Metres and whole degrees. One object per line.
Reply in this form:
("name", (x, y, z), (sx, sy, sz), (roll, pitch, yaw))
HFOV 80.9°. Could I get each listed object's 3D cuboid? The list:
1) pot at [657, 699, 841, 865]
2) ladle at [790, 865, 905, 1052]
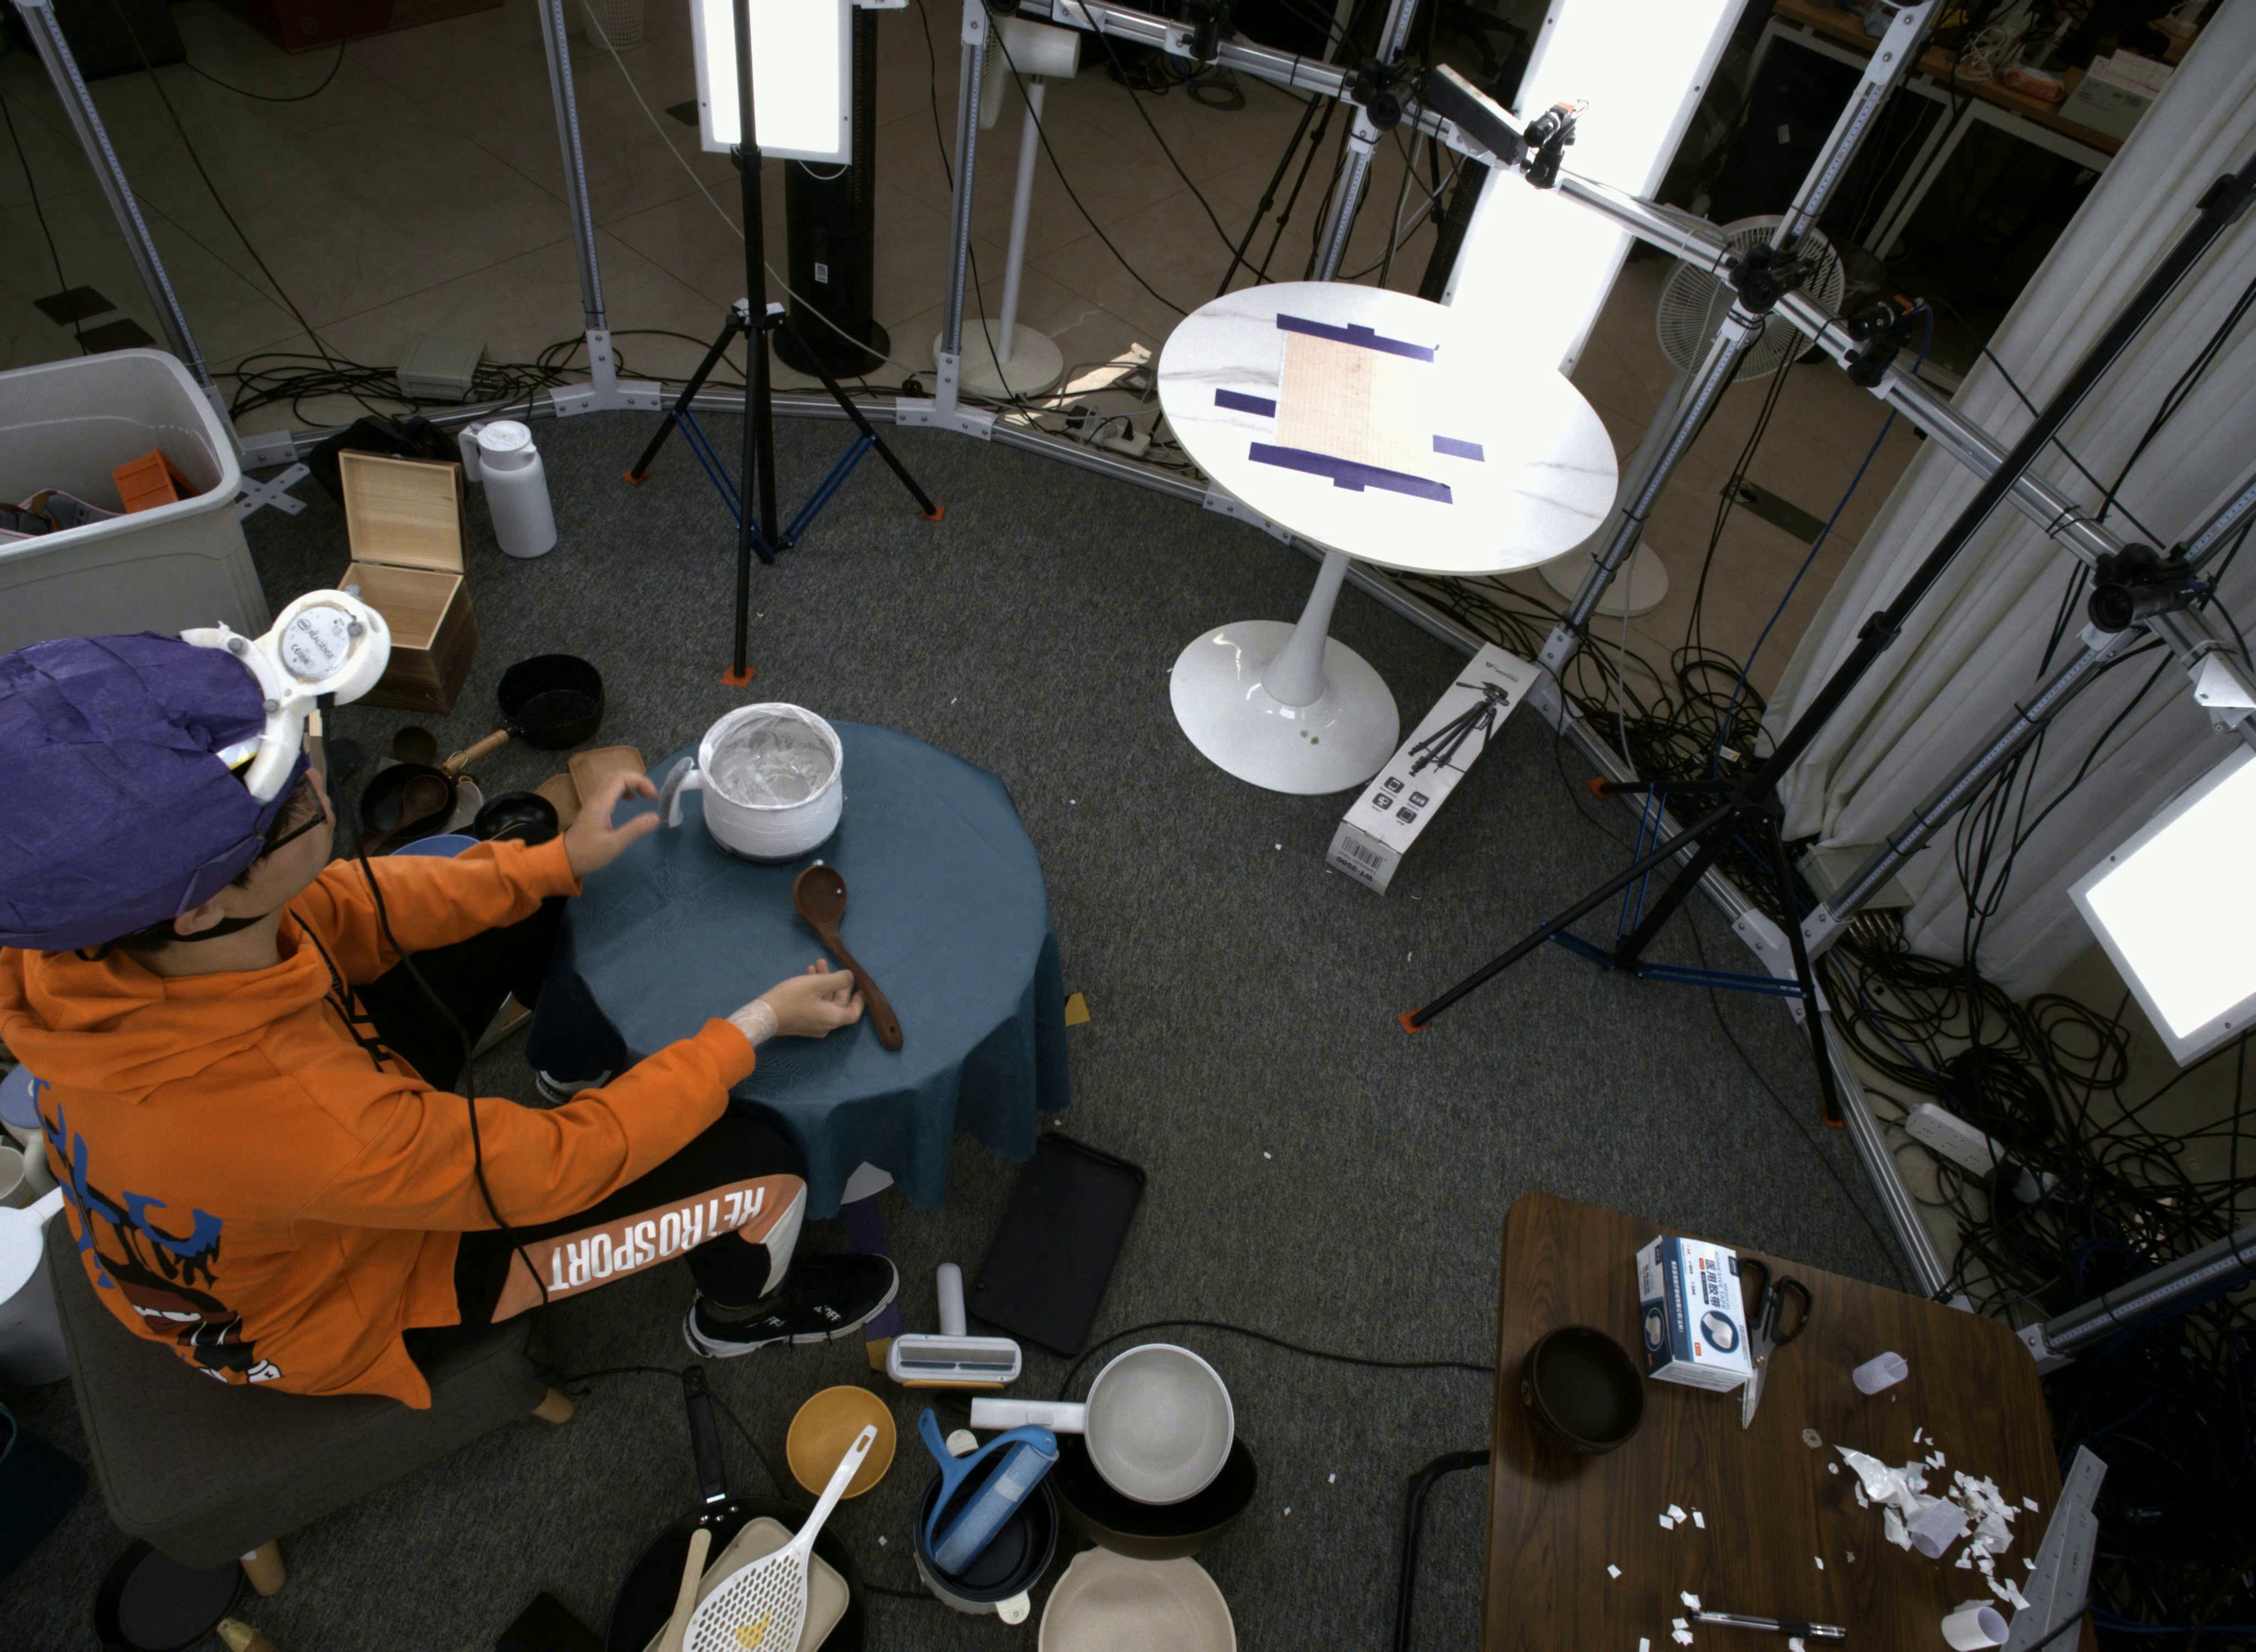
("pot", (-0.483, -0.049, 1.646), (0.235, 0.139, 0.174), (-8, 55, -20))
("ladle", (-0.334, 0.155, 1.581), (0.077, 0.066, 0.253), (-15, 57, -41))
